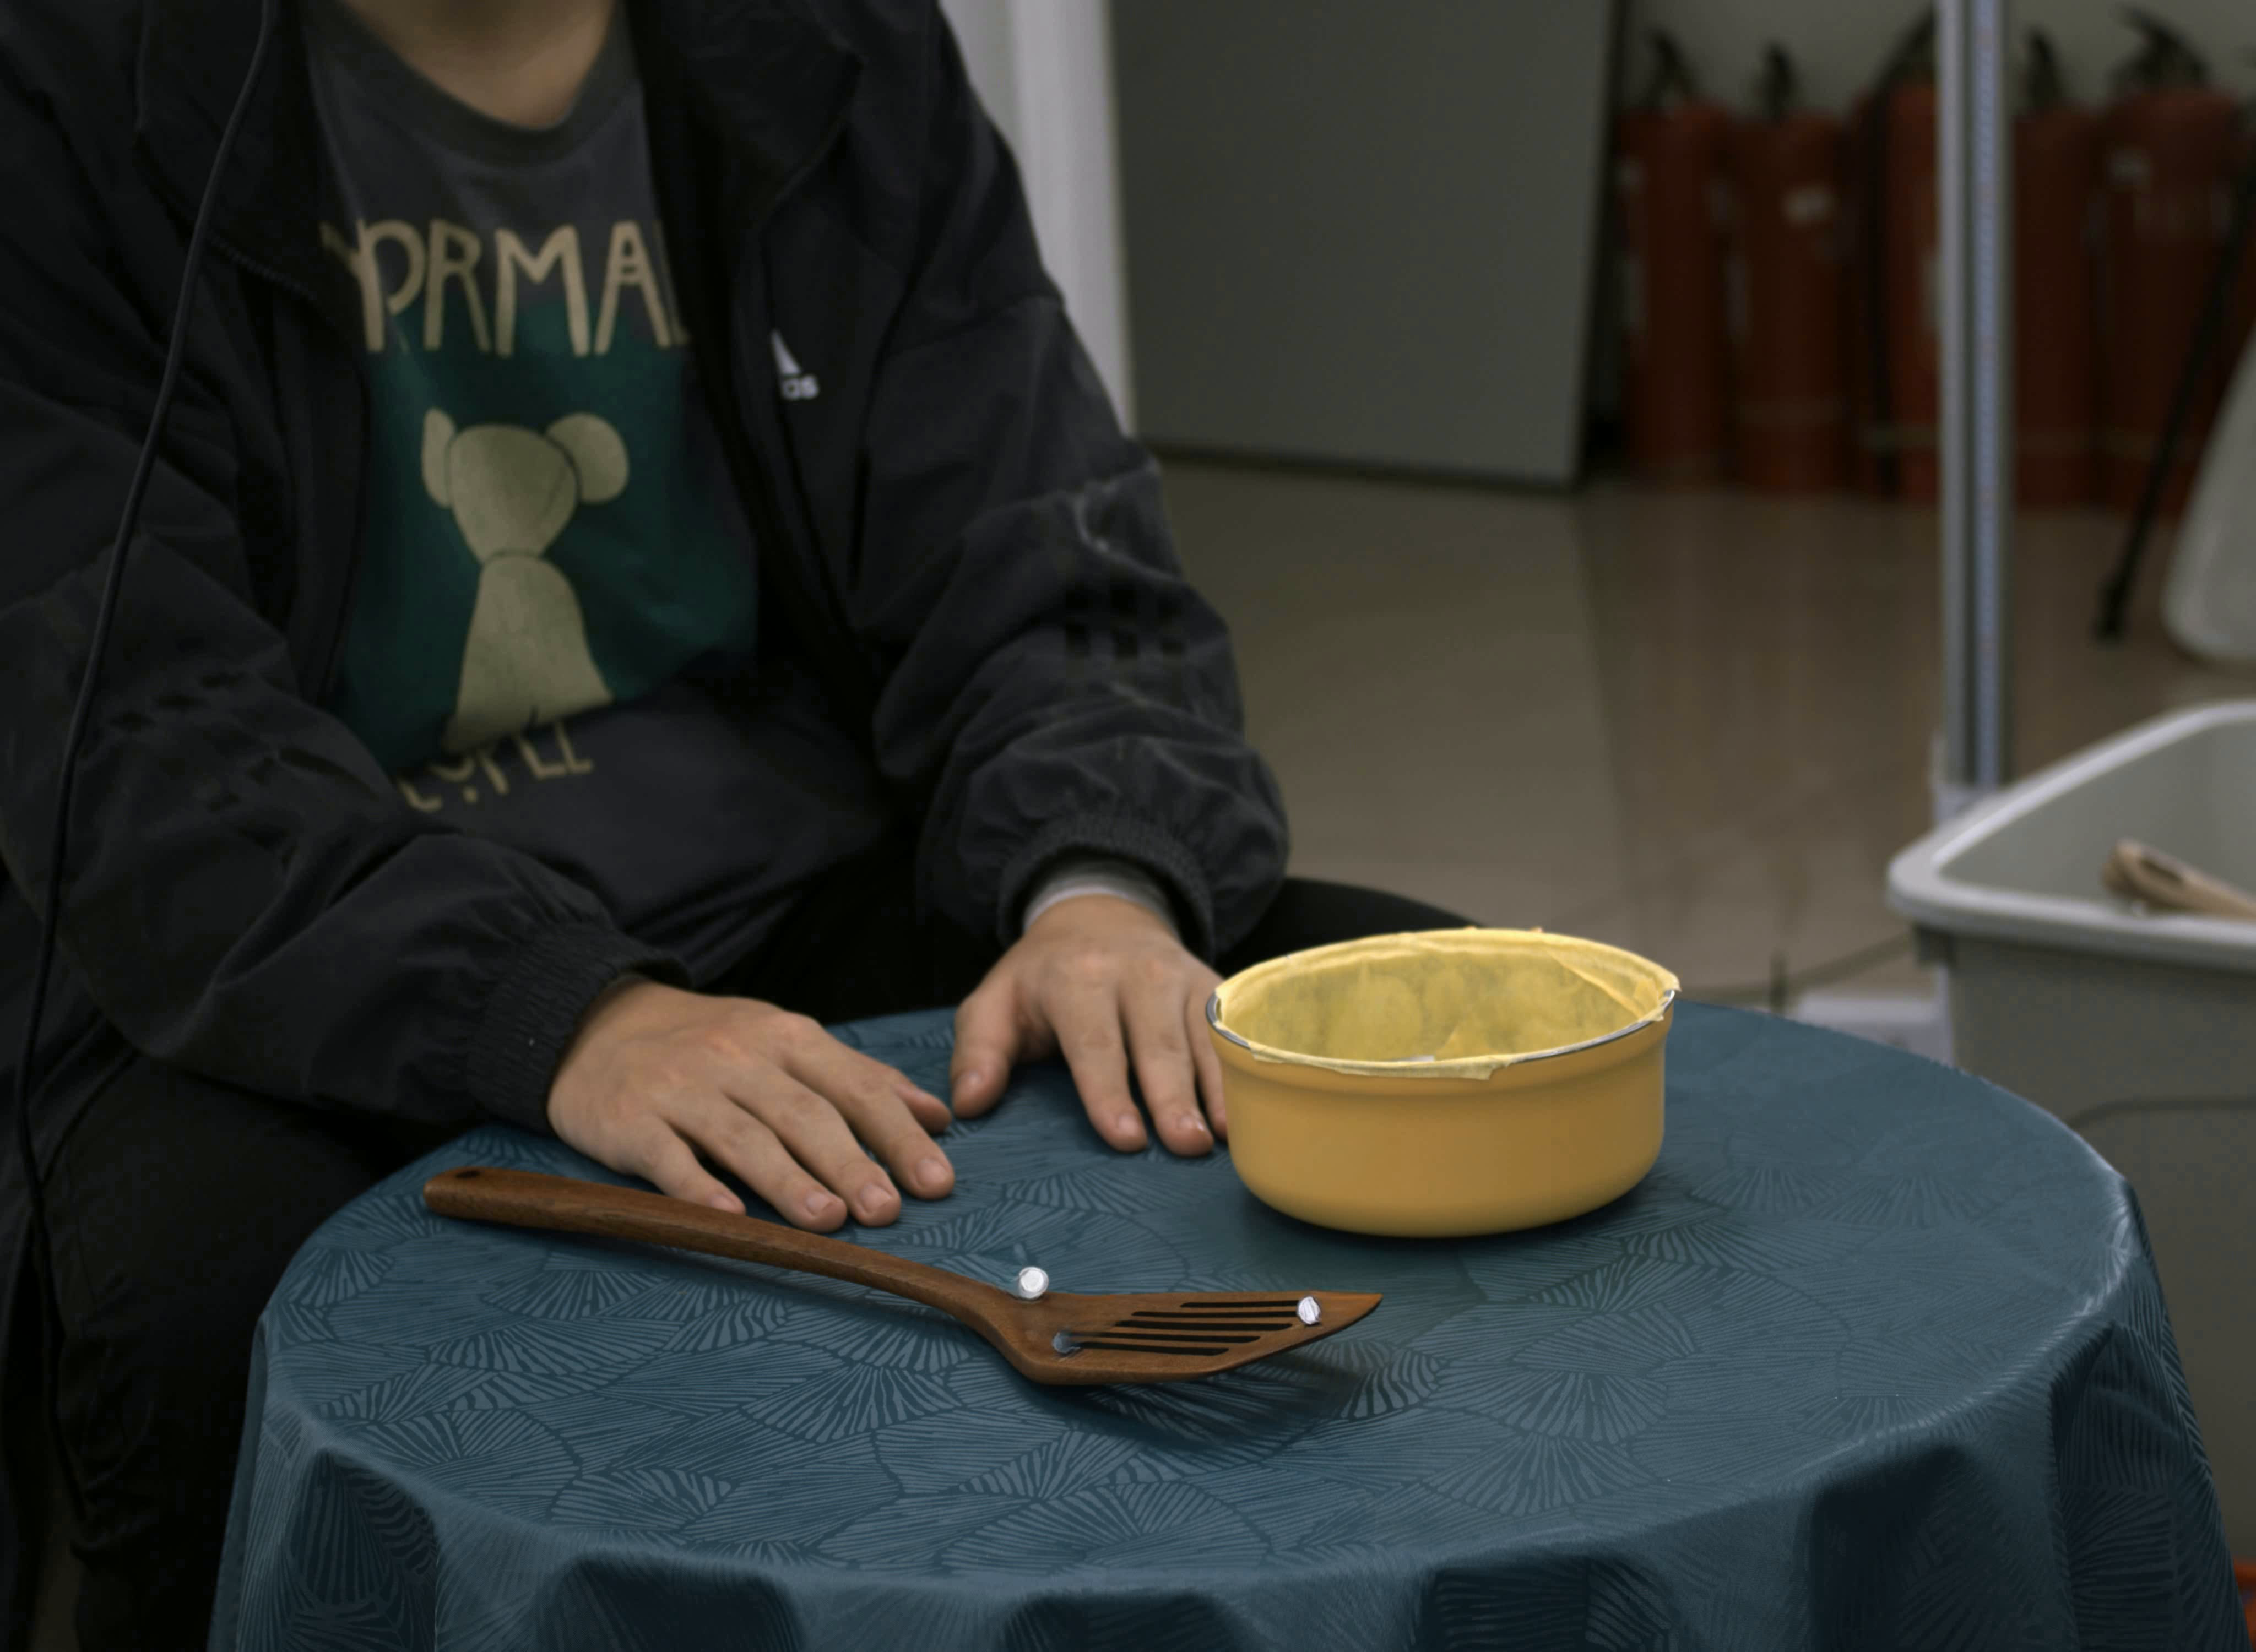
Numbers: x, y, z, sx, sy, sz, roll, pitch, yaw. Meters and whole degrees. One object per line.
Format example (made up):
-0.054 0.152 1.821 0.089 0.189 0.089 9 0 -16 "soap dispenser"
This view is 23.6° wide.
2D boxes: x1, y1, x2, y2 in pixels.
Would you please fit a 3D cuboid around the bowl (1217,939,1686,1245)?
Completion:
0.108 0.085 1.757 0.152 0.075 0.178 0 14 12 "bowl"

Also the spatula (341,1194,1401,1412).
-0.093 0.149 1.674 0.388 0.024 0.084 7 9 32 "spatula"
